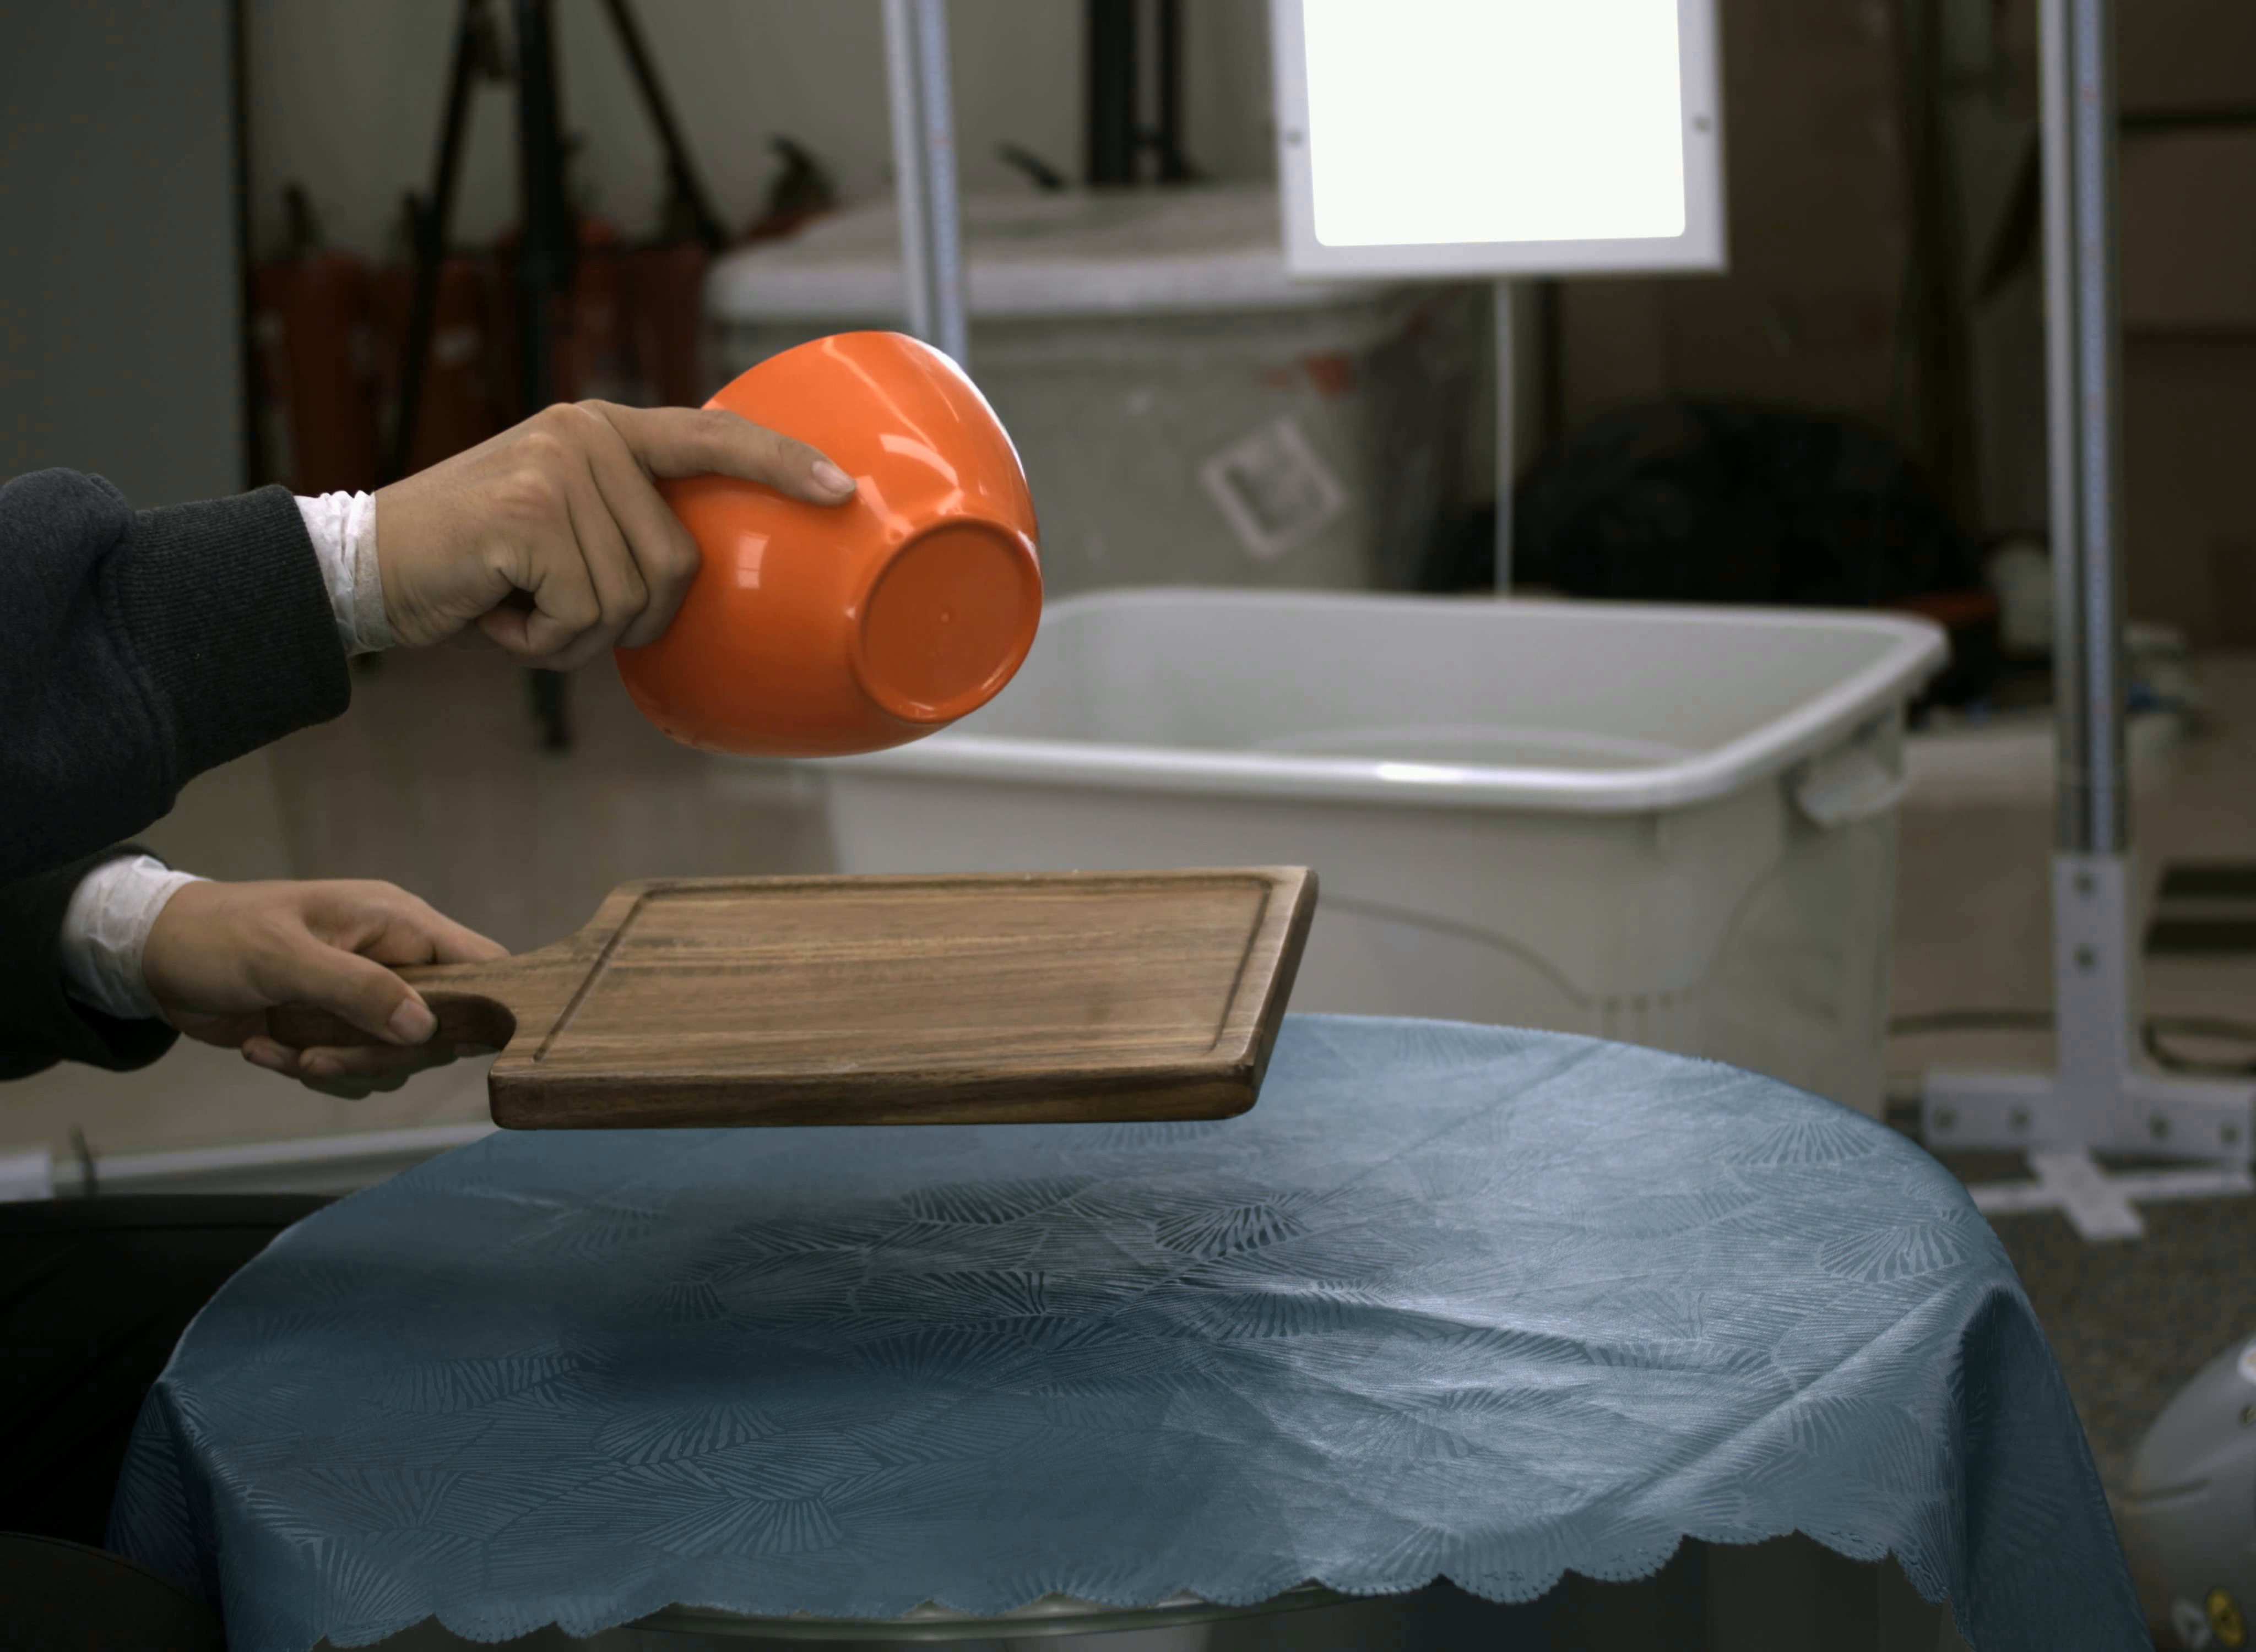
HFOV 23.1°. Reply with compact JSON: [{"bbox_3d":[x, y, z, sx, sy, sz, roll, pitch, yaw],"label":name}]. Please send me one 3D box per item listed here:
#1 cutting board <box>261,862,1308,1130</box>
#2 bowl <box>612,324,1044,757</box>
[{"bbox_3d":[-0.120,0.056,1.853,0.354,0.023,0.199,-2,19,11],"label":"cutting board"},{"bbox_3d":[-0.076,-0.074,1.684,0.144,0.149,0.106,-12,29,-30],"label":"bowl"}]
